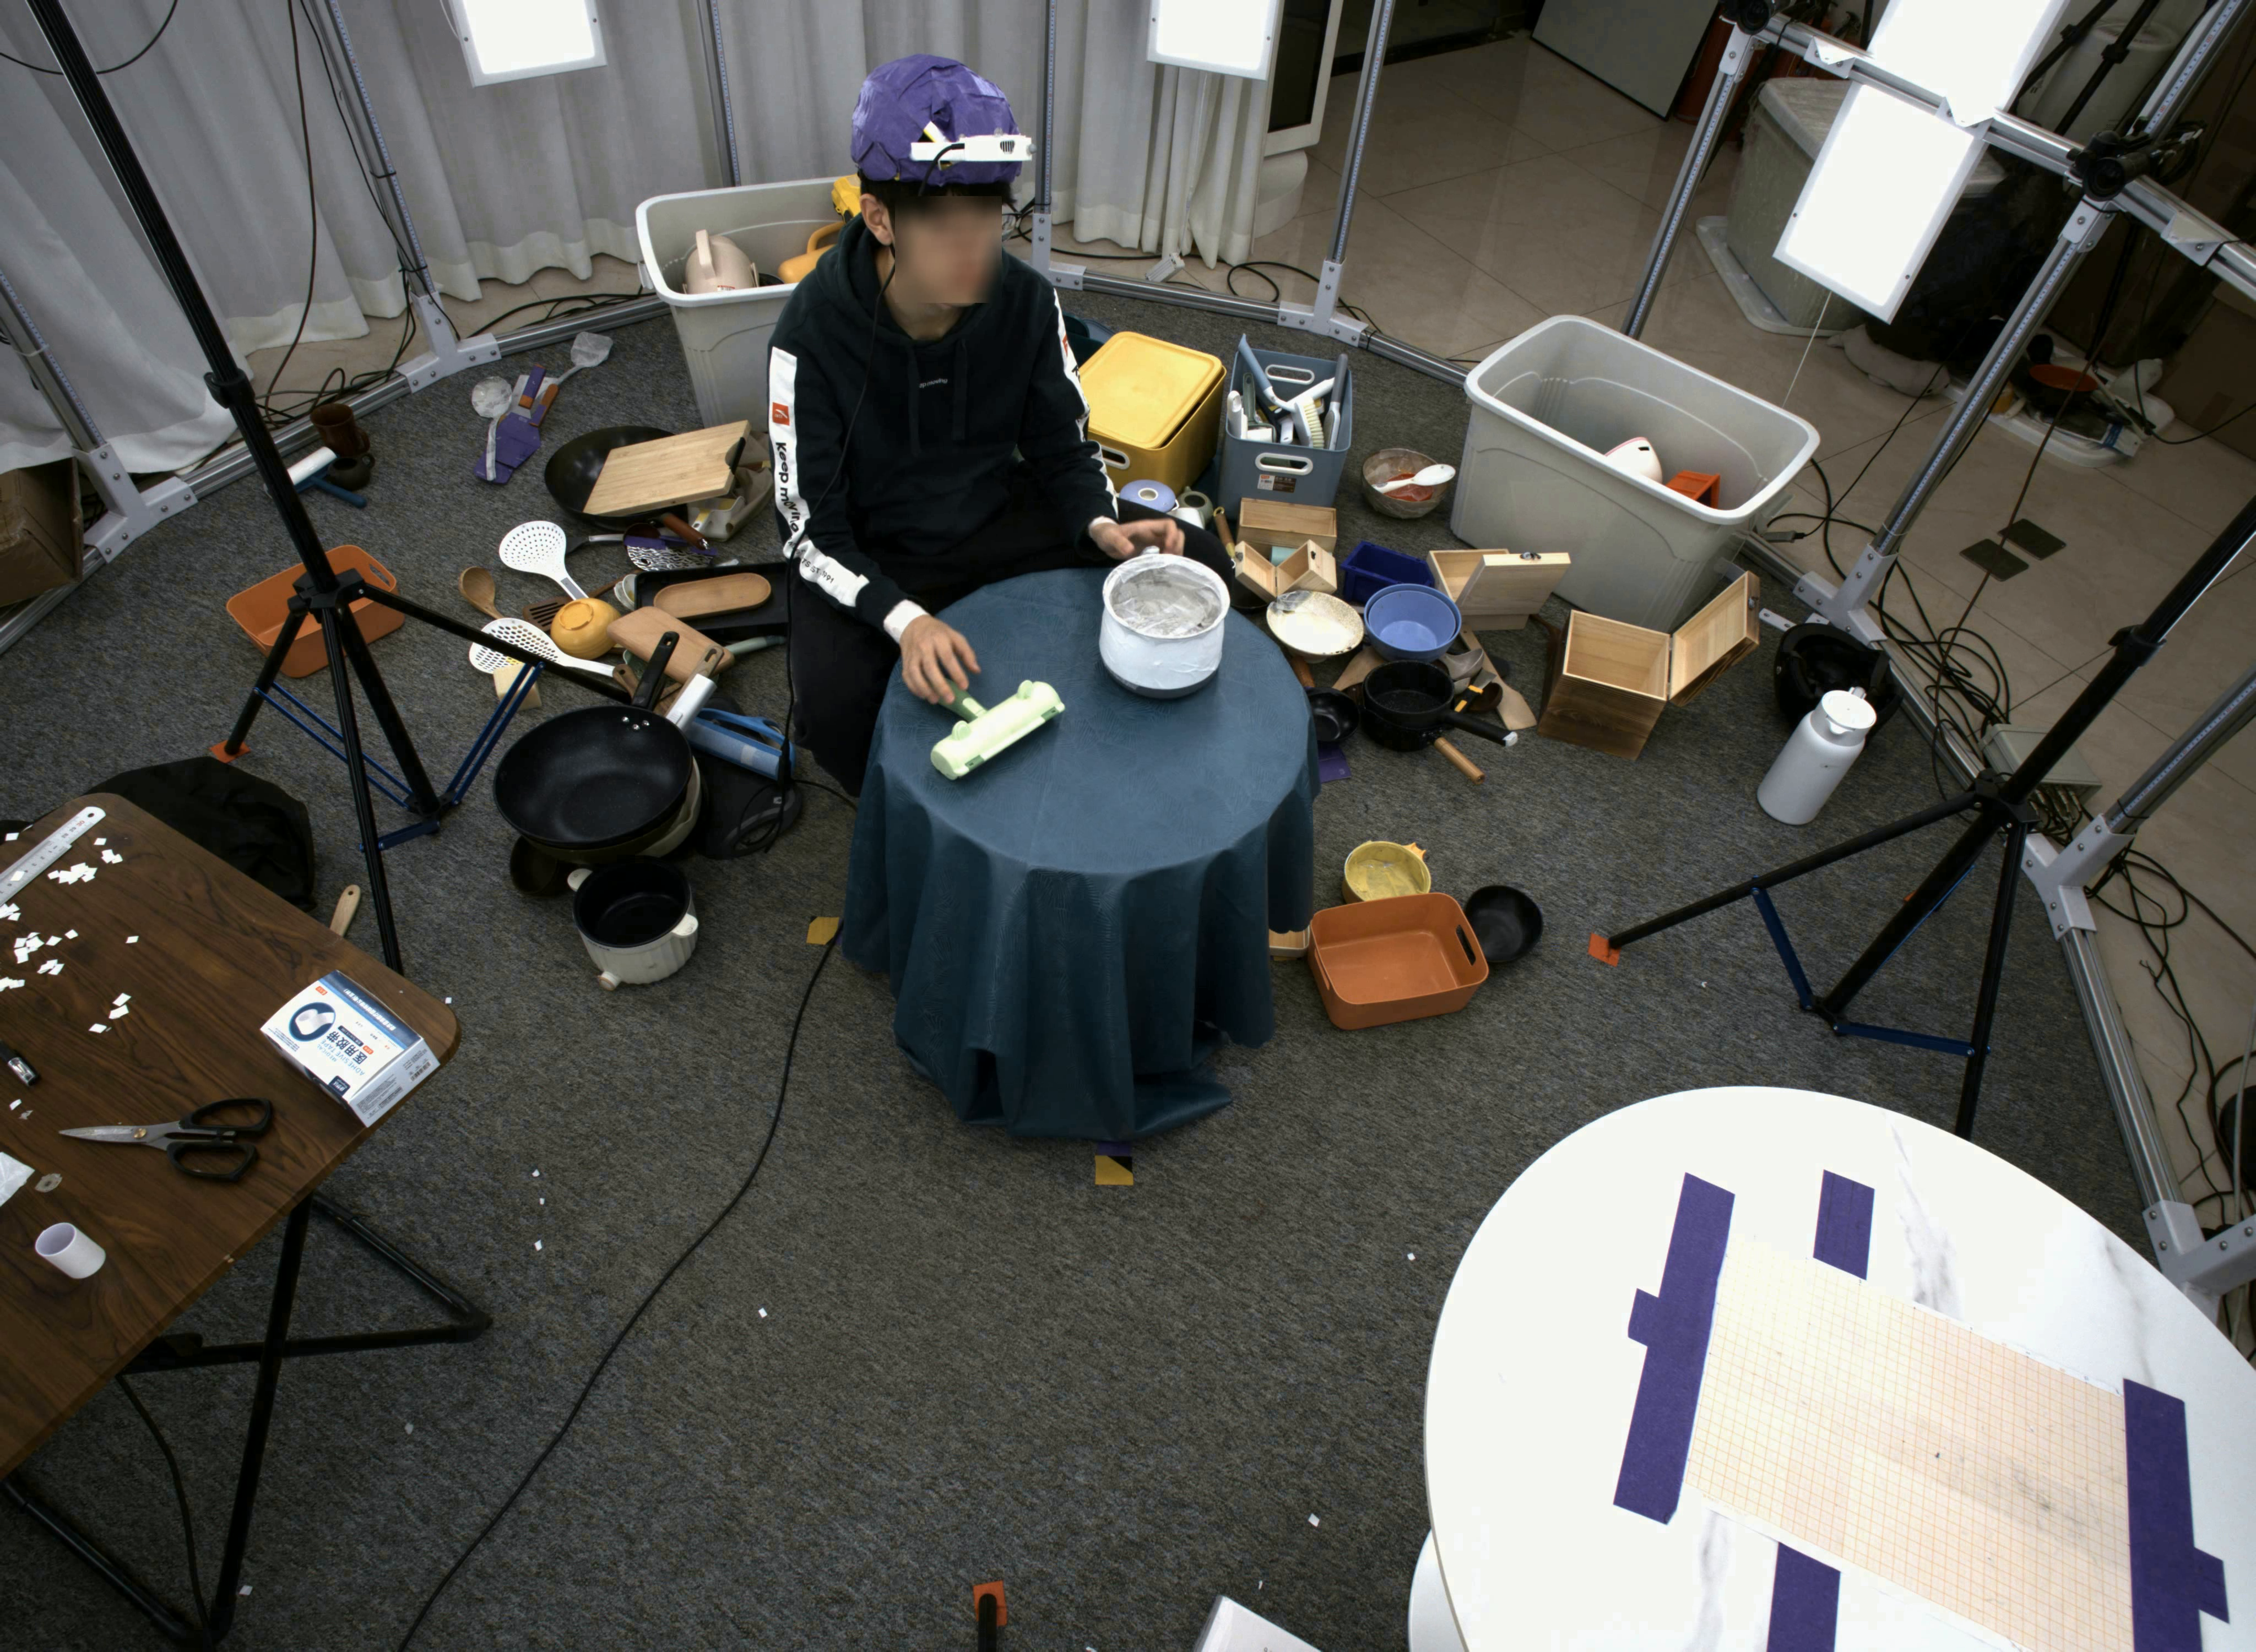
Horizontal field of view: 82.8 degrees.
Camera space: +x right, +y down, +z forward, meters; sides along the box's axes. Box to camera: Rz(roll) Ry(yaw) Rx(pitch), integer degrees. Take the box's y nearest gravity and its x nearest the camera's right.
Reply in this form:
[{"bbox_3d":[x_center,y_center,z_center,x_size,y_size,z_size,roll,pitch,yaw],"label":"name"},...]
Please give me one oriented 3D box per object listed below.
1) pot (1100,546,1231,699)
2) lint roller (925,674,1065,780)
[{"bbox_3d":[0.045,-0.301,1.843,0.178,0.133,0.239,-6,51,-9],"label":"pot"},{"bbox_3d":[-0.215,-0.169,1.753,0.200,0.080,0.186,-35,65,-29],"label":"lint roller"}]
